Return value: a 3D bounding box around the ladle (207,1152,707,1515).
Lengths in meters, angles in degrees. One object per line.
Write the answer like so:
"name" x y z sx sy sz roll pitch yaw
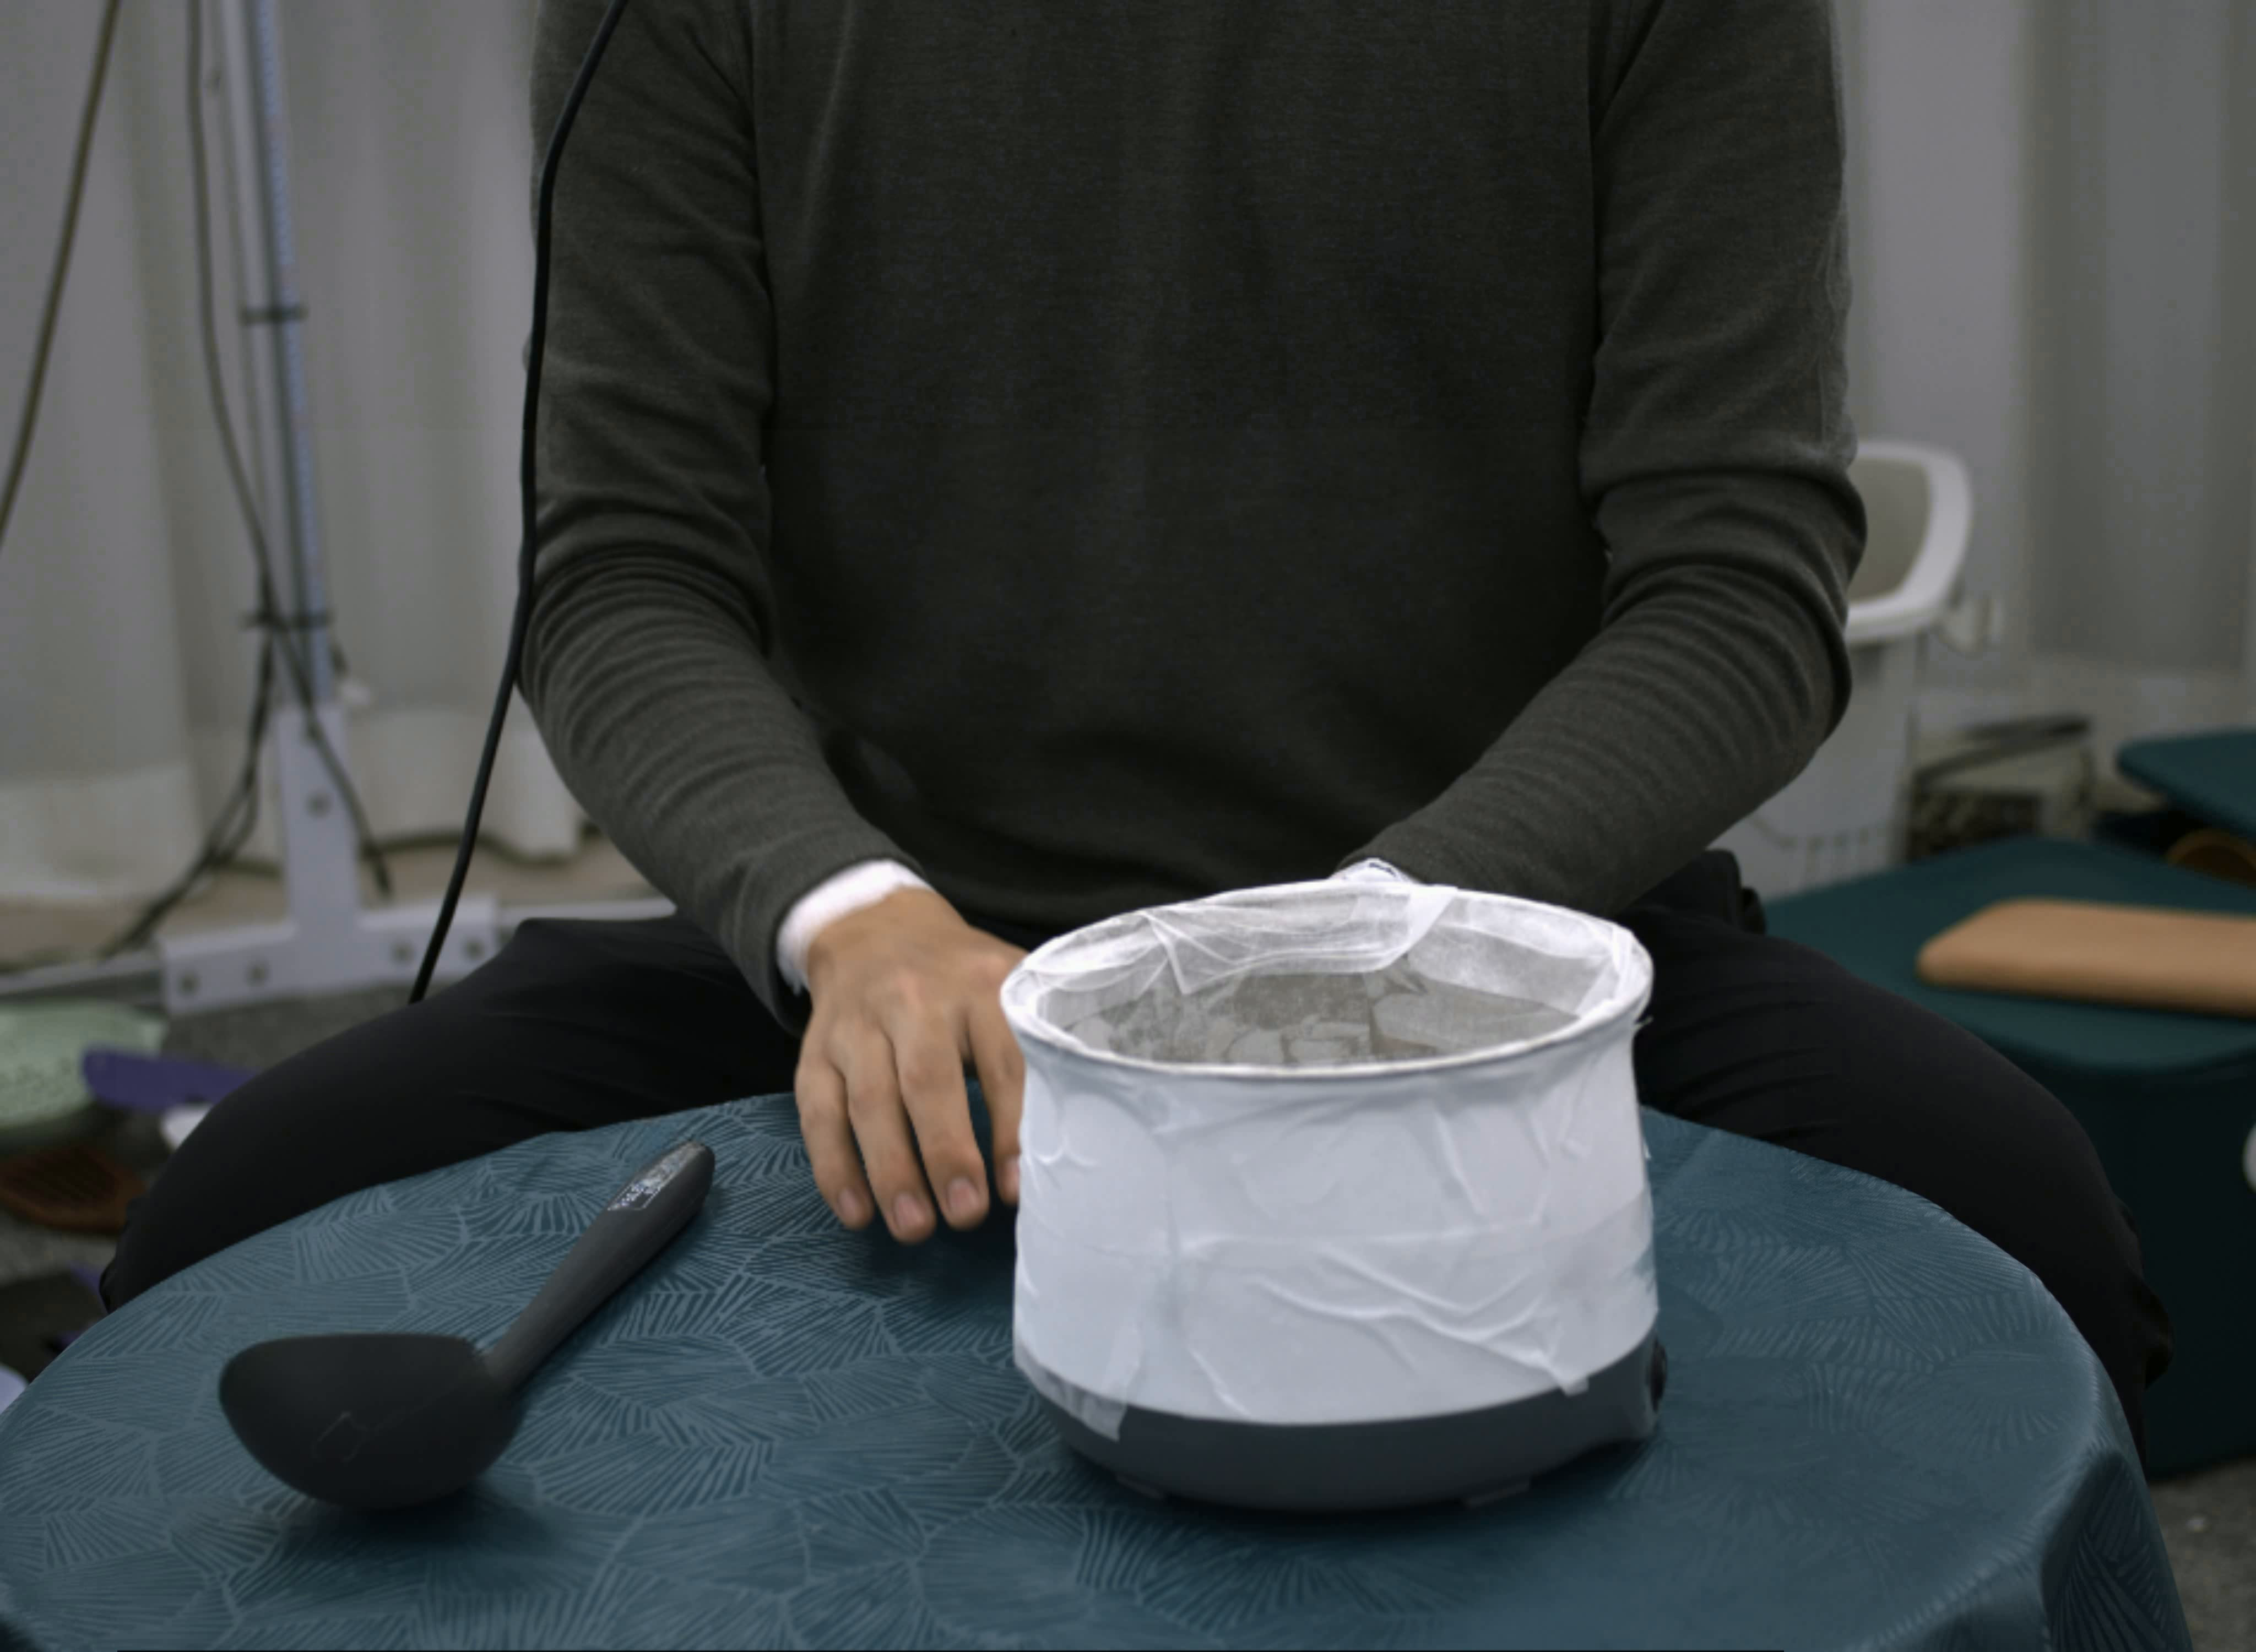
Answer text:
"ladle" -0.175 0.126 1.586 0.086 0.064 0.315 1 15 13

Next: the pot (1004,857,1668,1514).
"pot" 0.061 0.094 1.519 0.178 0.136 0.235 0 15 10
